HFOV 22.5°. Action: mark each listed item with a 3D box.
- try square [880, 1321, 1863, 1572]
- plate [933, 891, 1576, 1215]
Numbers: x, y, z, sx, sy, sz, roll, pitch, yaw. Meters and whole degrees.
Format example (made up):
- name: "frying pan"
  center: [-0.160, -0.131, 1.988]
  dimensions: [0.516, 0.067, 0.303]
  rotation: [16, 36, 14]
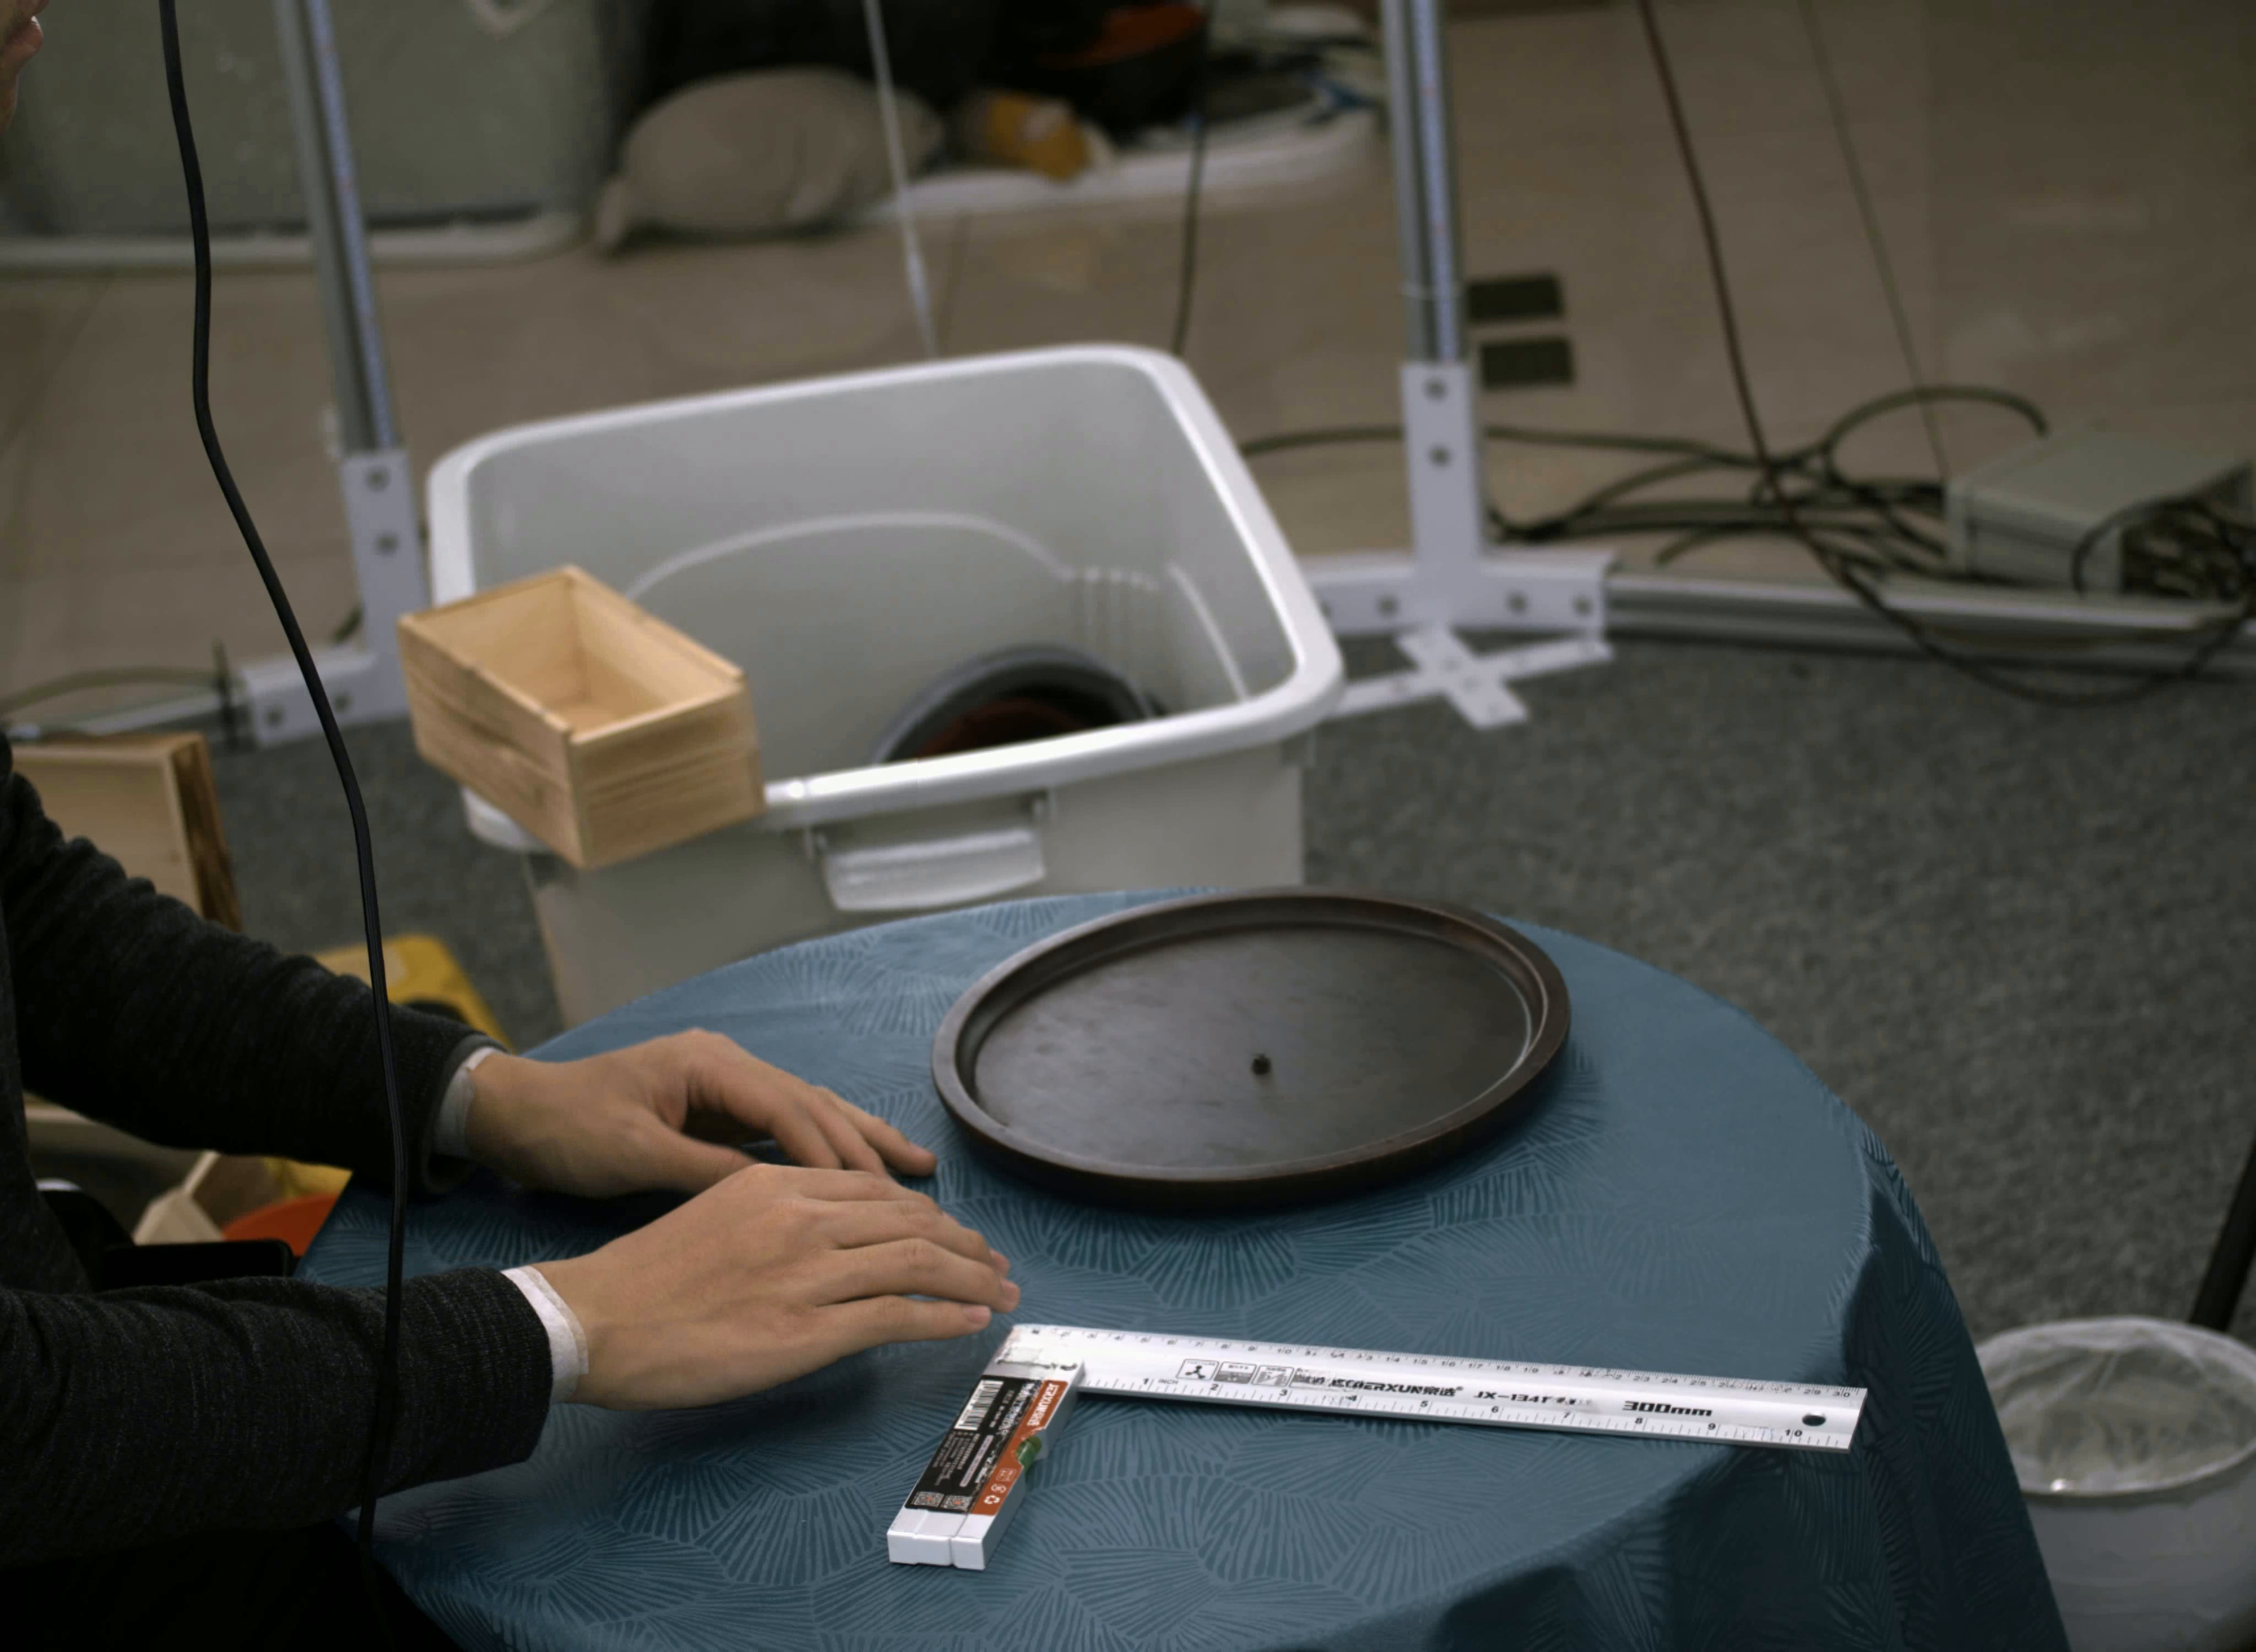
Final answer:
- name: "try square"
  center: [0.084, 0.220, 1.947]
  dimensions: [0.312, 0.016, 0.150]
  rotation: [3, 27, 17]
- name: "plate"
  center: [0.049, 0.087, 2.220]
  dimensions: [0.254, 0.029, 0.251]
  rotation: [-4, 25, 2]
